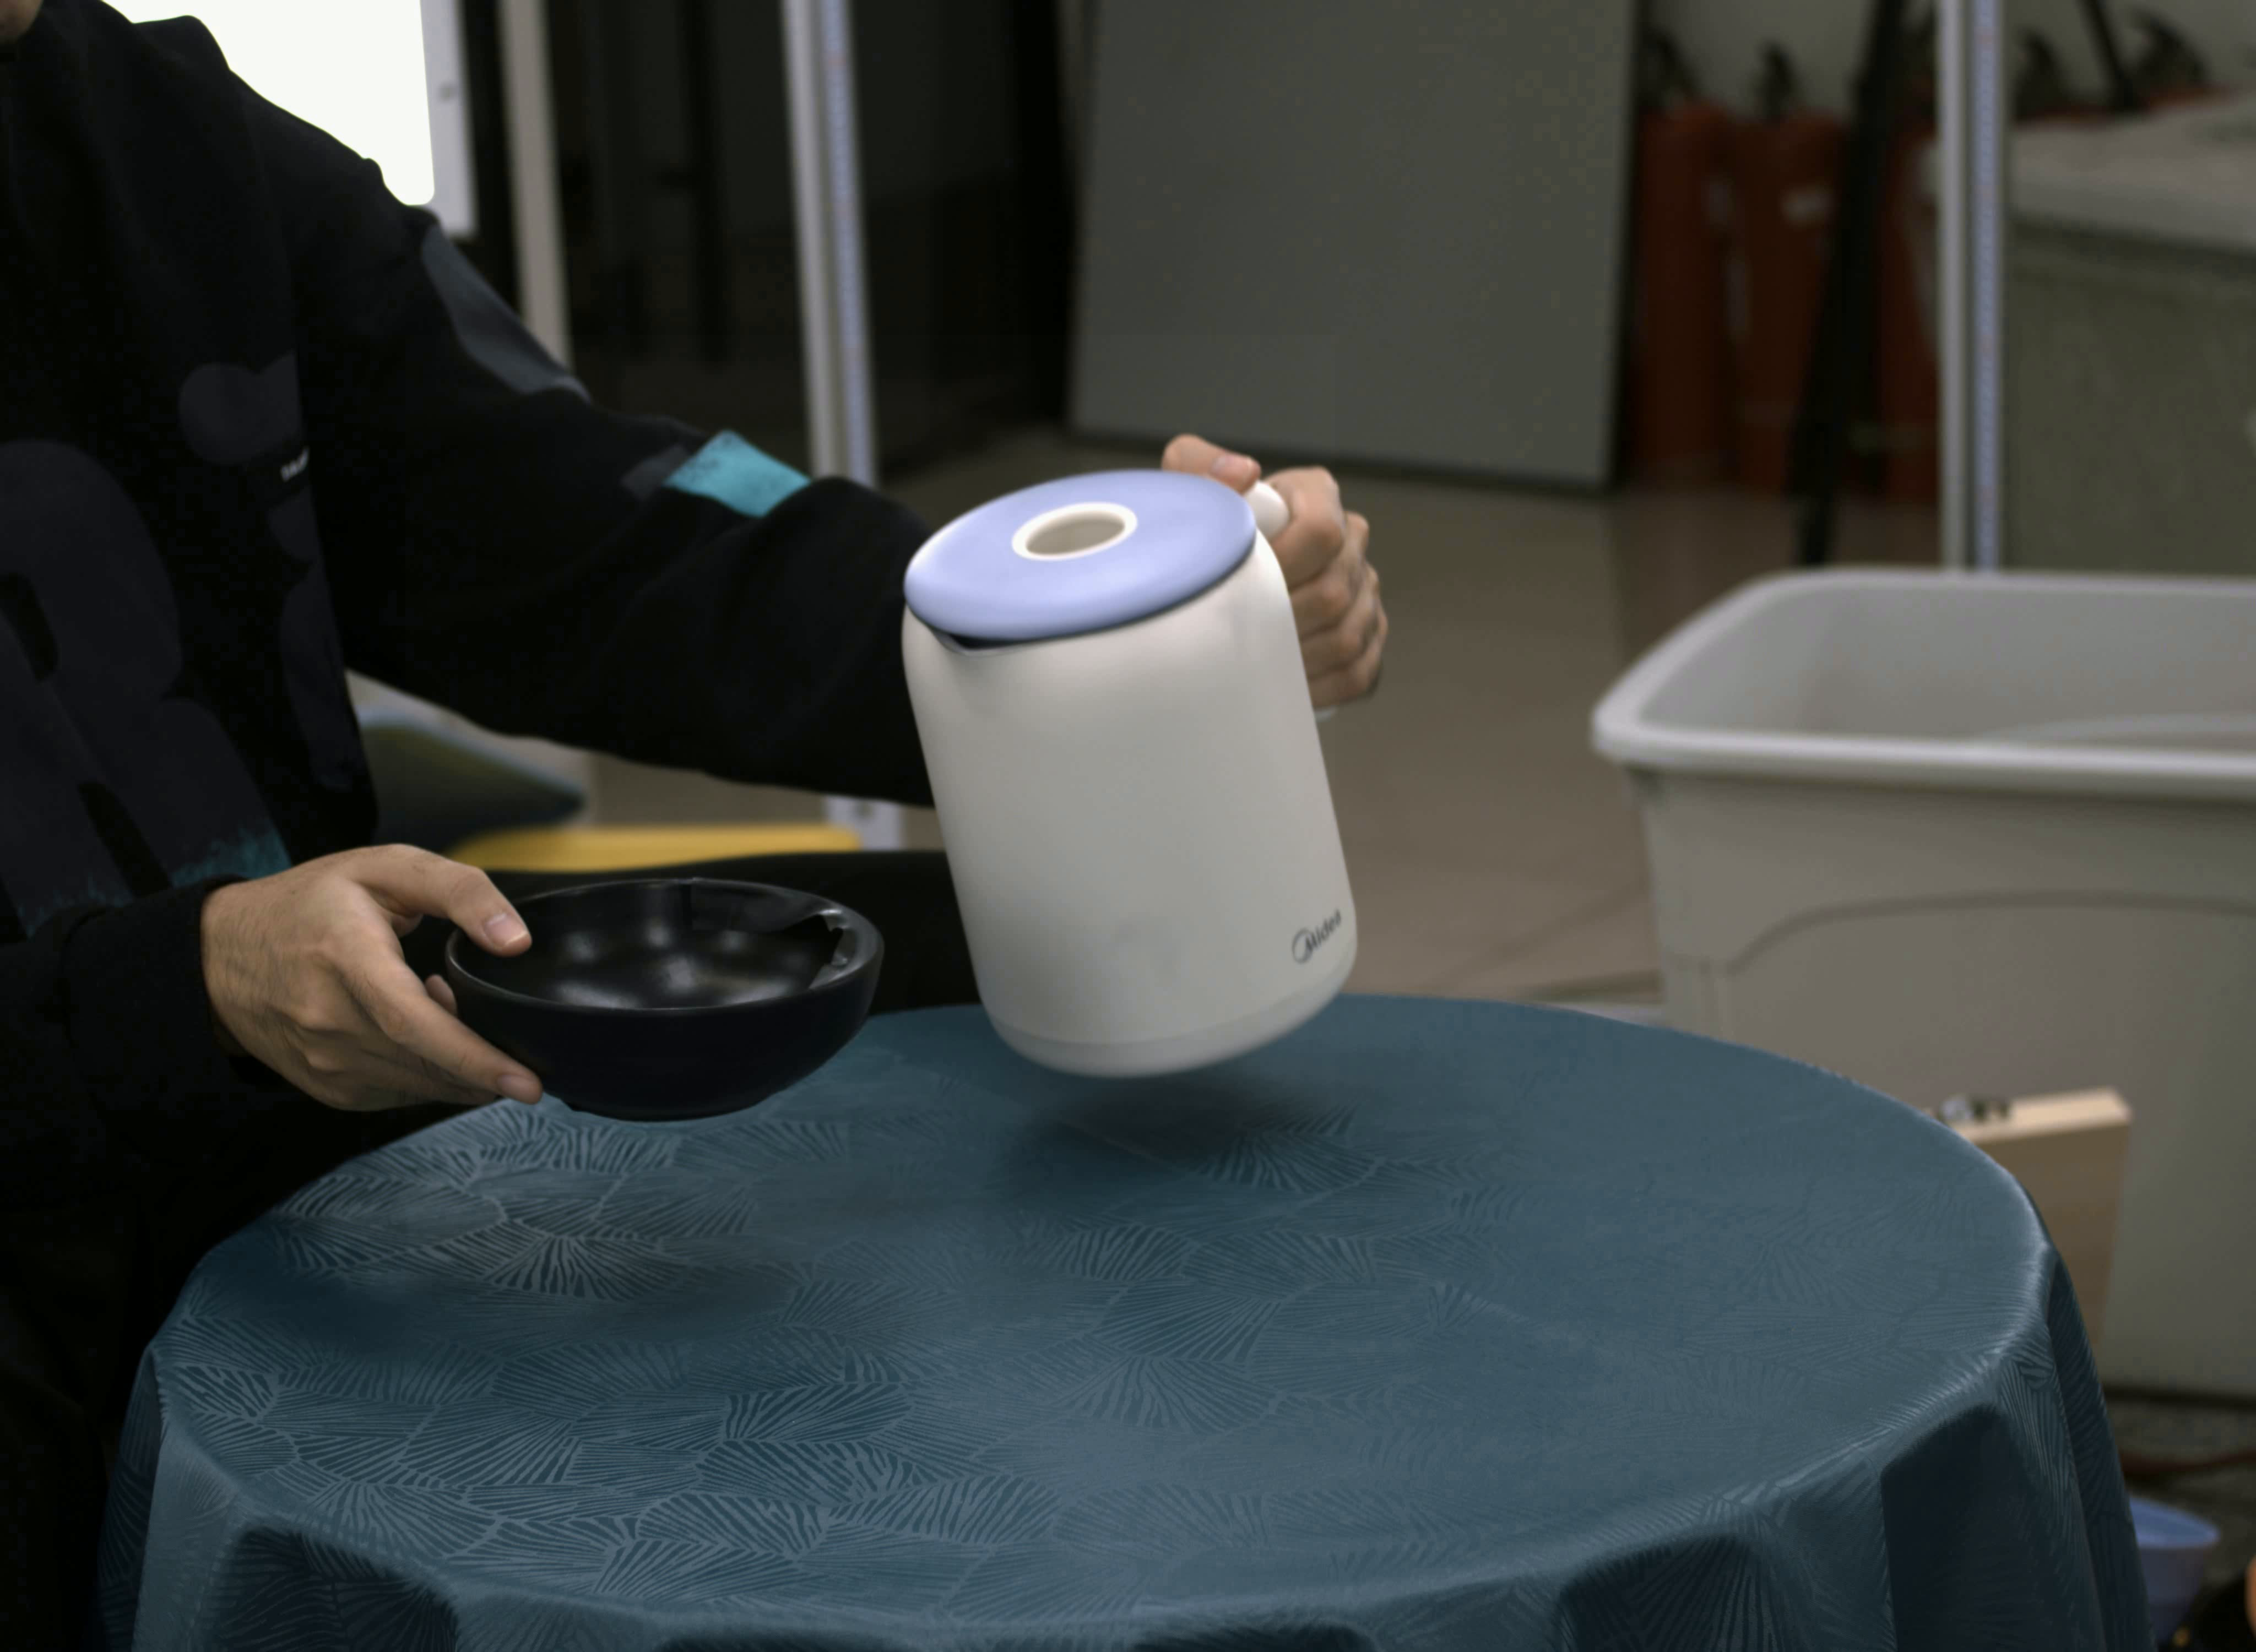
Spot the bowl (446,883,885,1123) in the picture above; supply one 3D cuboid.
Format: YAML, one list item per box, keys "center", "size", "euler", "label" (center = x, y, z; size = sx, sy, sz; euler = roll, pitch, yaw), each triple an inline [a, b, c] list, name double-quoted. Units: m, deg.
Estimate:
- center: [-0.144, 0.059, 1.700]
  size: [0.138, 0.050, 0.140]
  euler: [-2, 14, 0]
  label: "bowl"

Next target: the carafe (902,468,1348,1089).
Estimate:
- center: [0.011, -0.027, 1.817]
  size: [0.133, 0.184, 0.188]
  euler: [6, 28, 33]
  label: "carafe"
